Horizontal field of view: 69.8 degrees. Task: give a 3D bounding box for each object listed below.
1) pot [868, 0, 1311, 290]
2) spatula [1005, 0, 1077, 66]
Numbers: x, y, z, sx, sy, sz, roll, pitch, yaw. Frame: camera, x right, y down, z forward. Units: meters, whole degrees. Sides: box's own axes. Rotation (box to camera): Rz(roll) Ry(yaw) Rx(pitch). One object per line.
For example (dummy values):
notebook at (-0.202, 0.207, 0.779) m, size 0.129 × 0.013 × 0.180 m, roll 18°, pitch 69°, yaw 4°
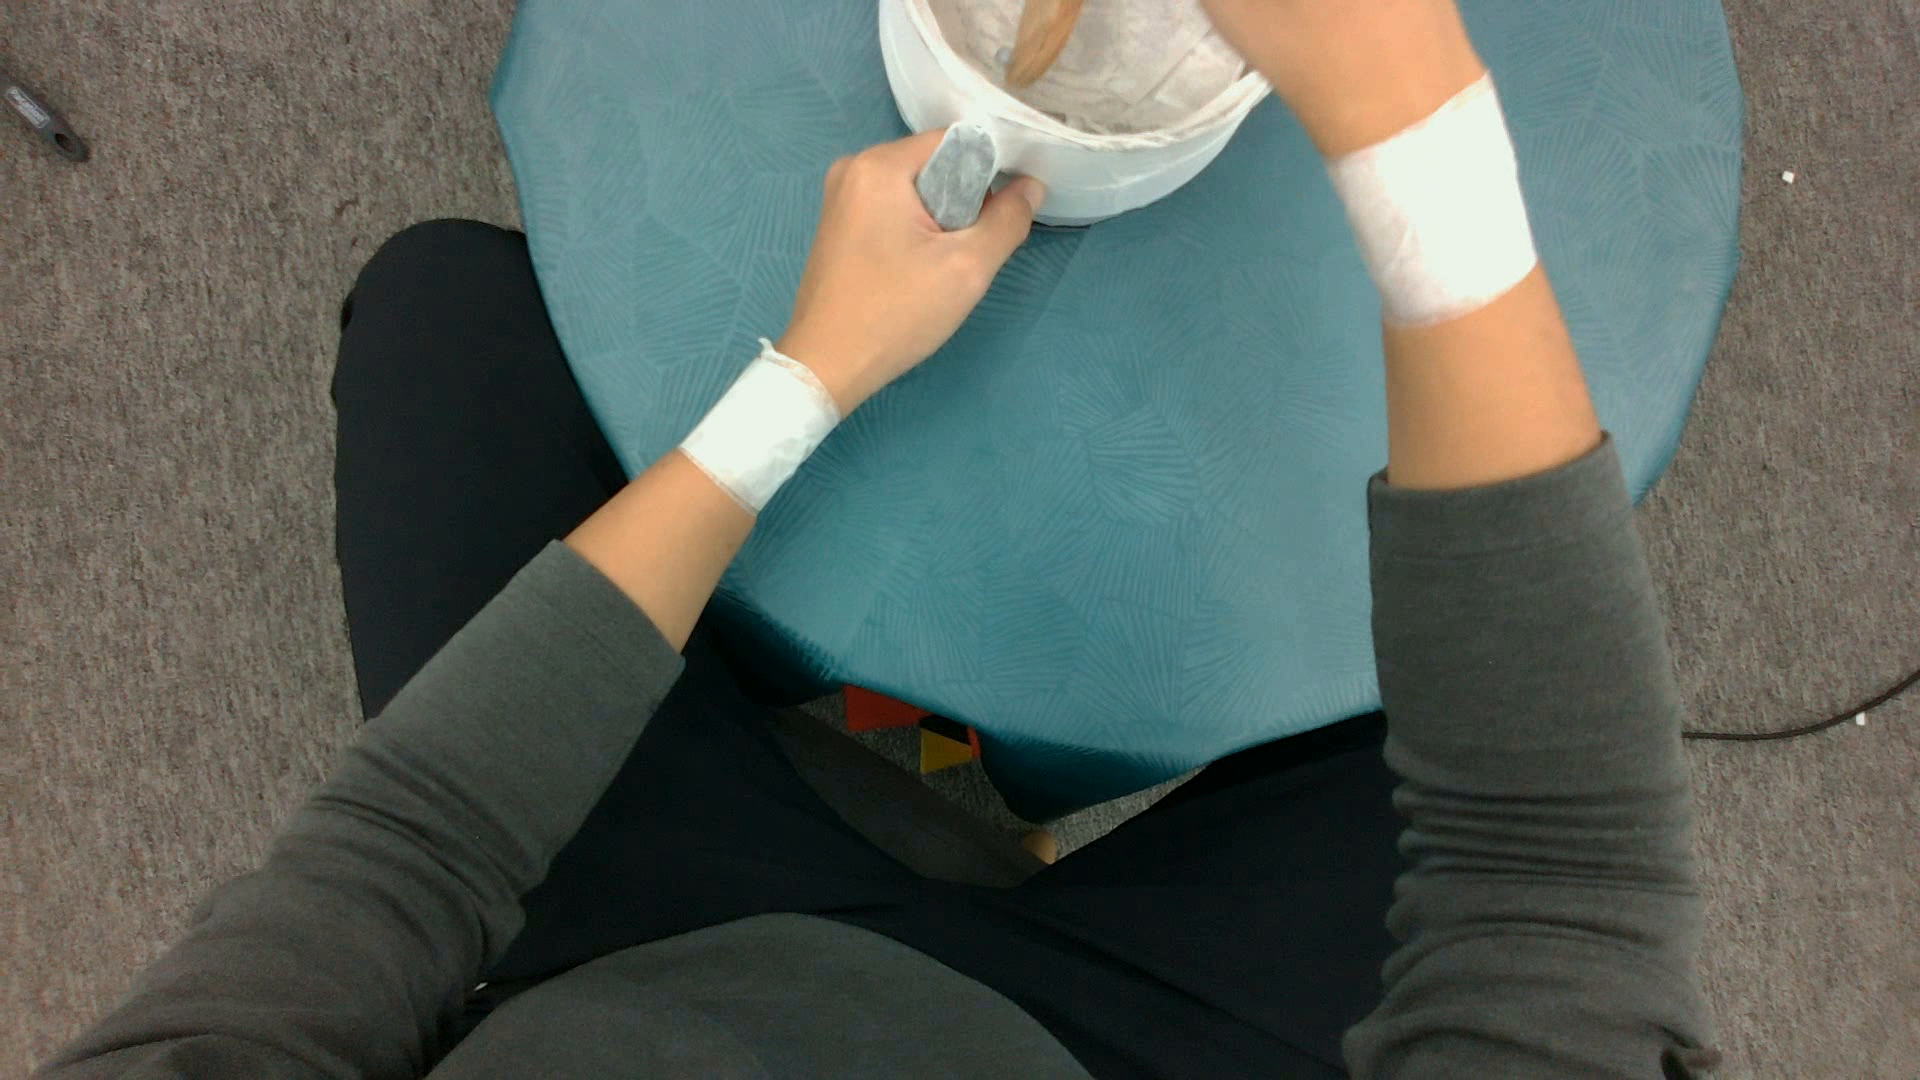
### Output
pot at (0.037, -0.217, 0.595) m, size 0.179 × 0.136 × 0.234 m, roll 31°, pitch 86°, yaw -3°
spatula at (0.060, -0.229, 0.416) m, size 0.018 × 0.391 × 0.096 m, roll 14°, pitch 94°, yaw -8°
